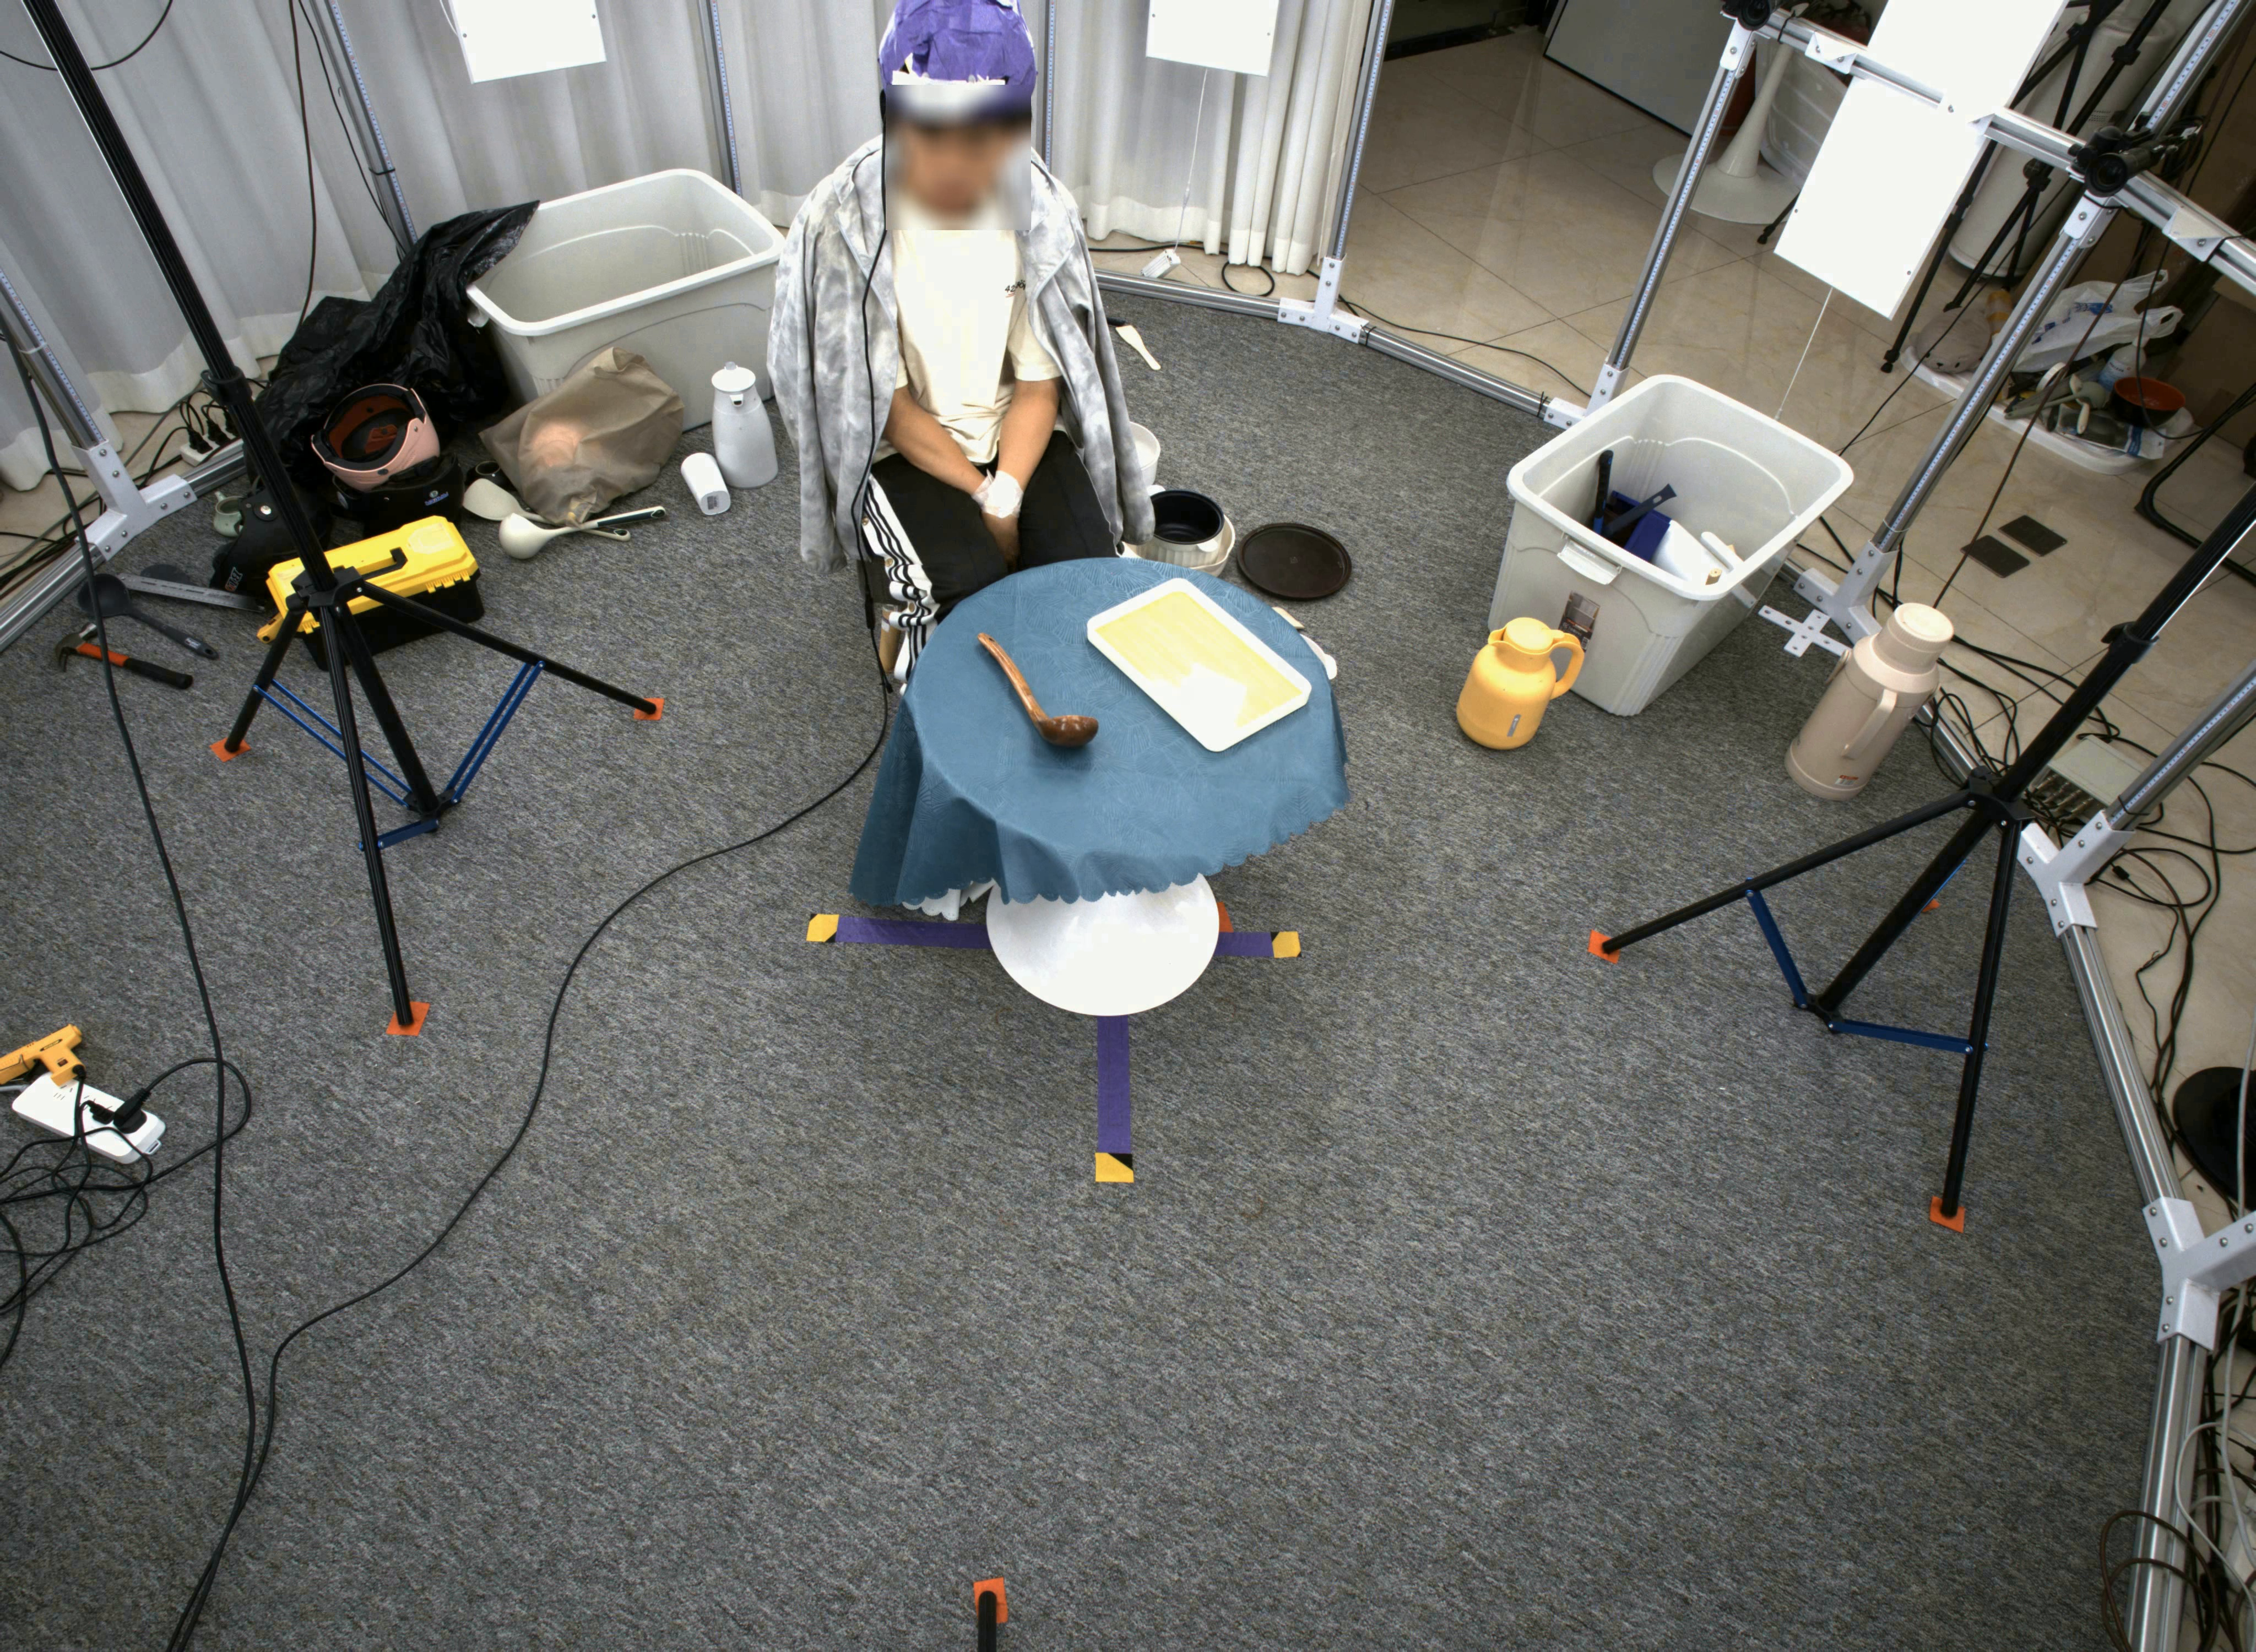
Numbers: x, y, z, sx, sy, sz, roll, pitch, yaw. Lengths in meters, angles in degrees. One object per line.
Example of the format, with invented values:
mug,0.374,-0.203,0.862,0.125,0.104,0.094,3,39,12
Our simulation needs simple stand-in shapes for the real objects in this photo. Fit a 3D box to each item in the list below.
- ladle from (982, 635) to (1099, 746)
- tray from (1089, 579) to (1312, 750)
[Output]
ladle,-0.128,-0.205,1.785,0.081,0.076,0.280,20,30,-46
tray,0.102,-0.240,1.859,0.193,0.027,0.306,-29,56,-26
